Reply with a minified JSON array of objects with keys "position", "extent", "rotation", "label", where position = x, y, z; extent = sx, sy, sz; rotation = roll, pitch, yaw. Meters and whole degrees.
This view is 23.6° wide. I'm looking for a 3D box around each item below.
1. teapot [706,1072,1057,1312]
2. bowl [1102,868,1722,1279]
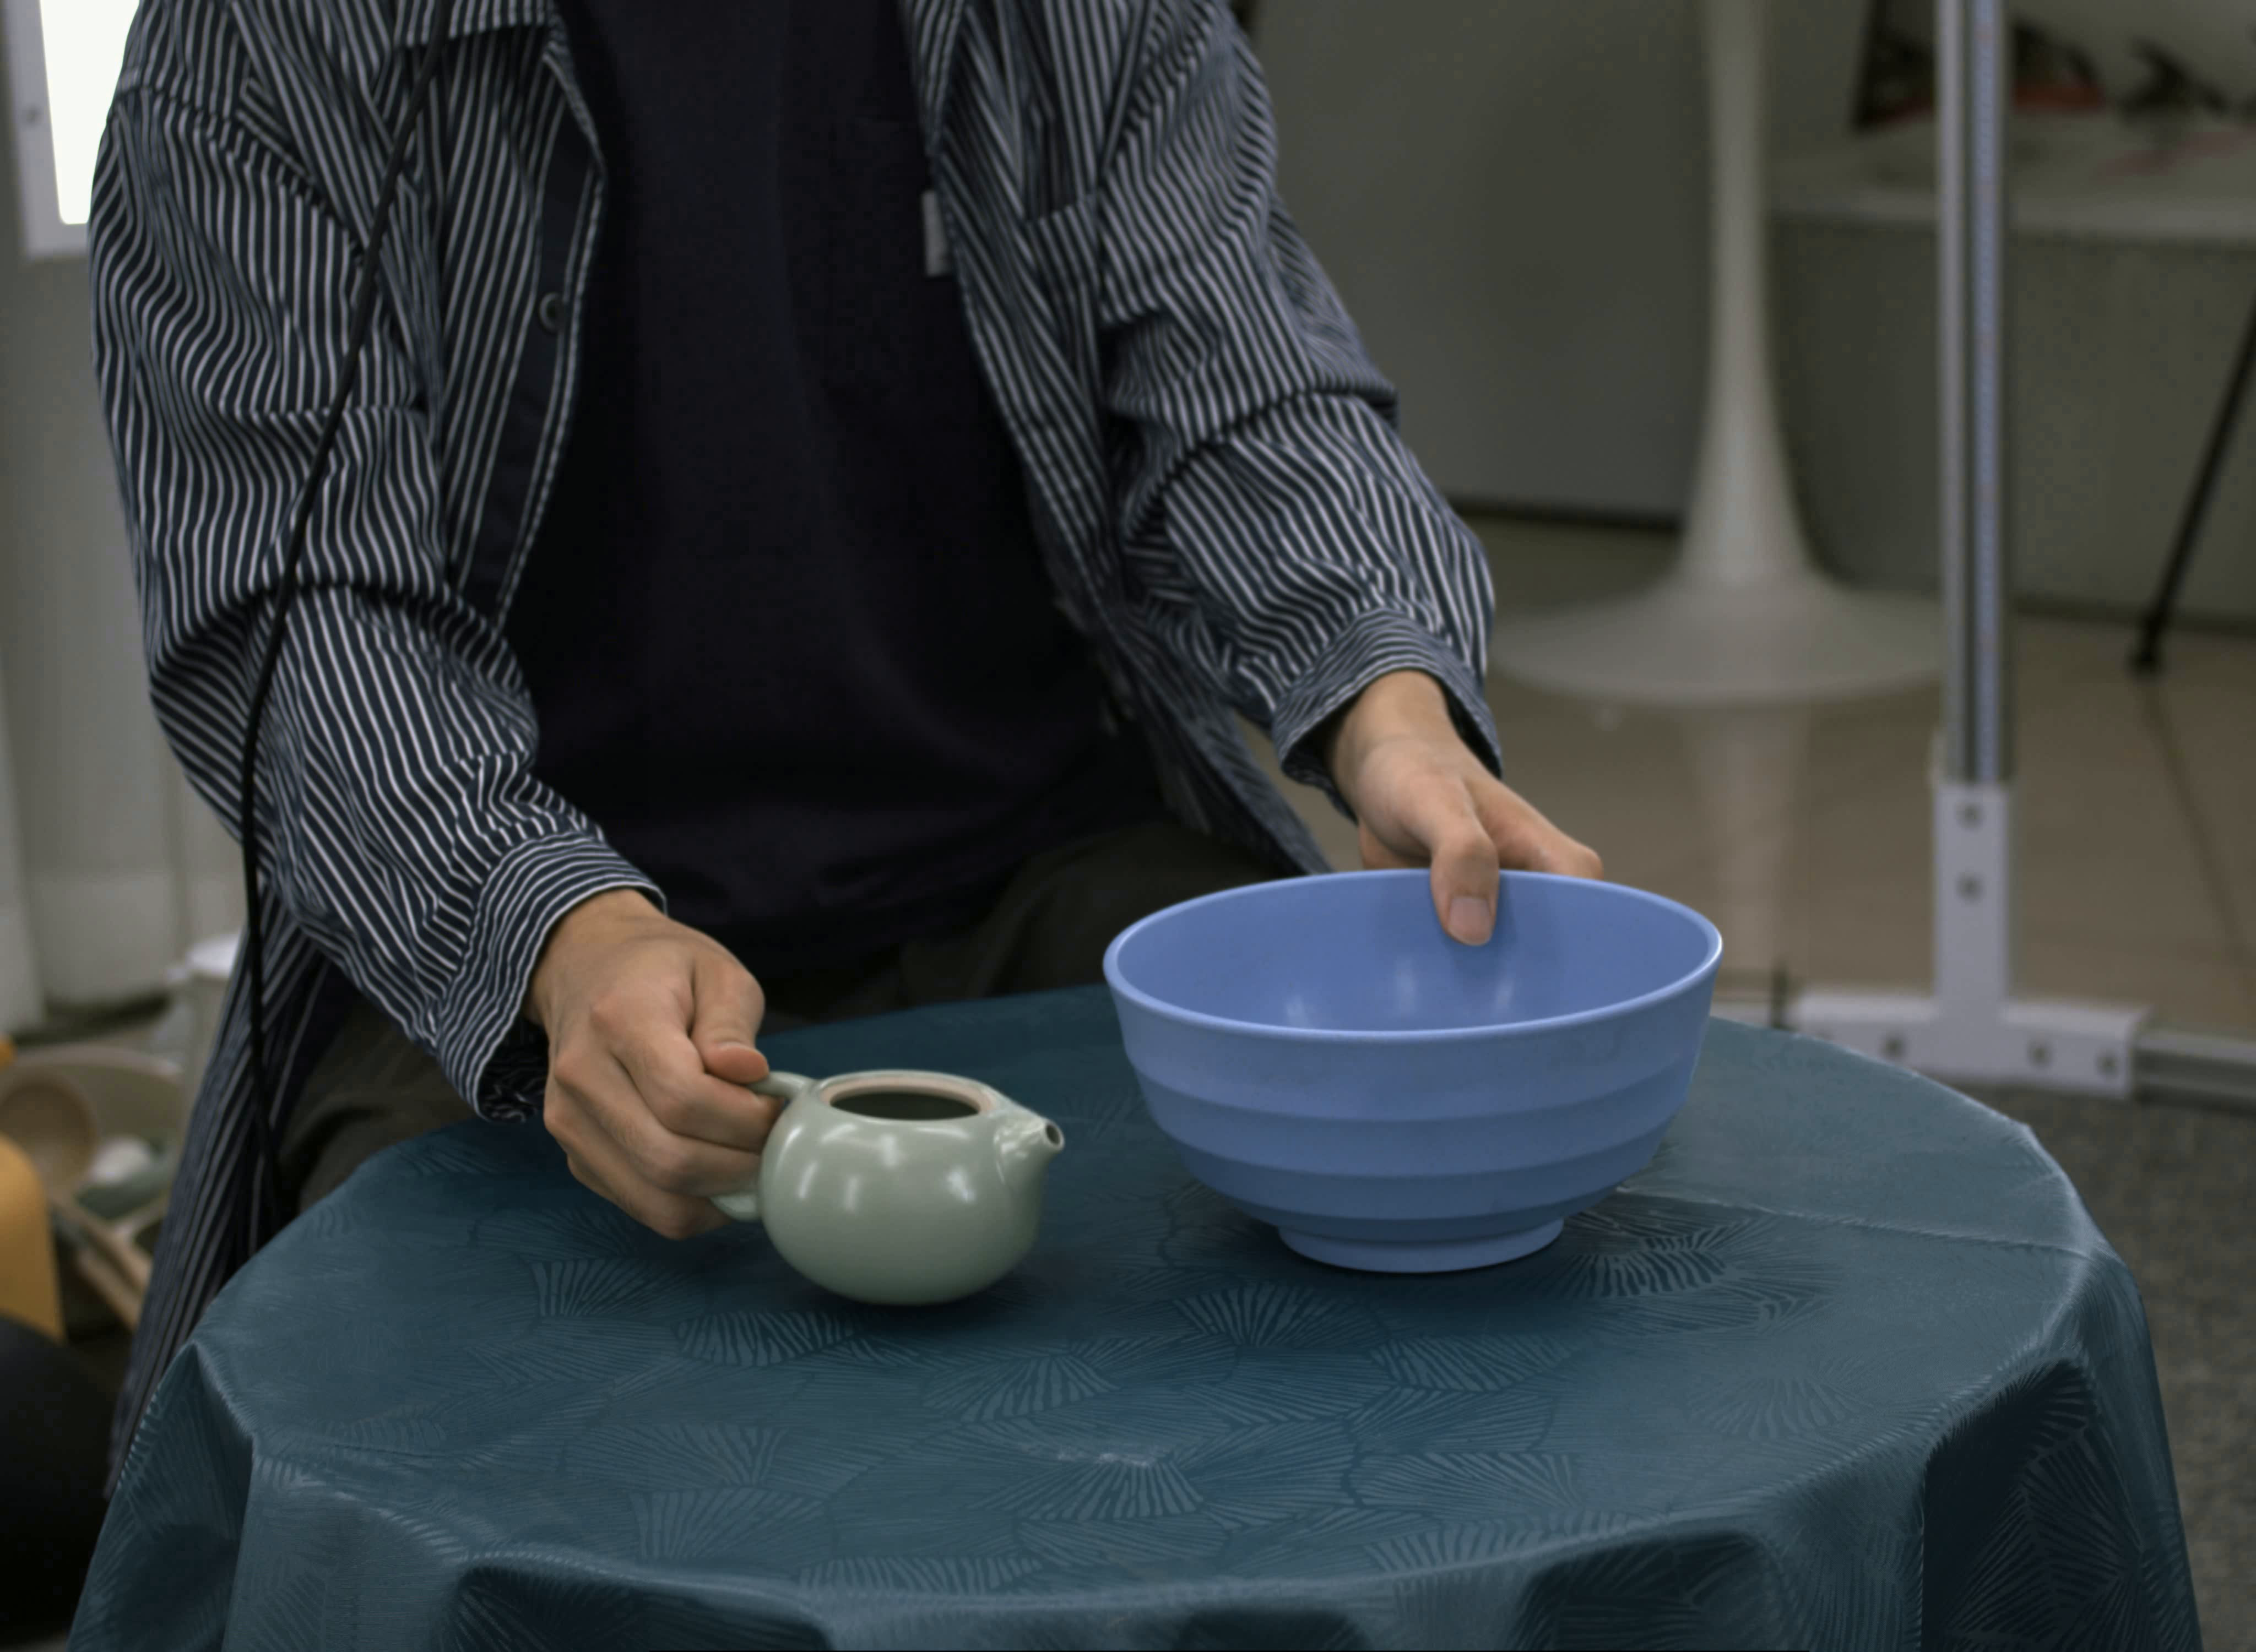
[{"position":[-0.078,0.112,1.673],"extent":[0.129,0.061,0.090],"rotation":[9,15,32],"label":"teapot"},{"position":[0.091,0.083,1.695],"extent":[0.194,0.096,0.197],"rotation":[-3,14,0],"label":"bowl"}]
